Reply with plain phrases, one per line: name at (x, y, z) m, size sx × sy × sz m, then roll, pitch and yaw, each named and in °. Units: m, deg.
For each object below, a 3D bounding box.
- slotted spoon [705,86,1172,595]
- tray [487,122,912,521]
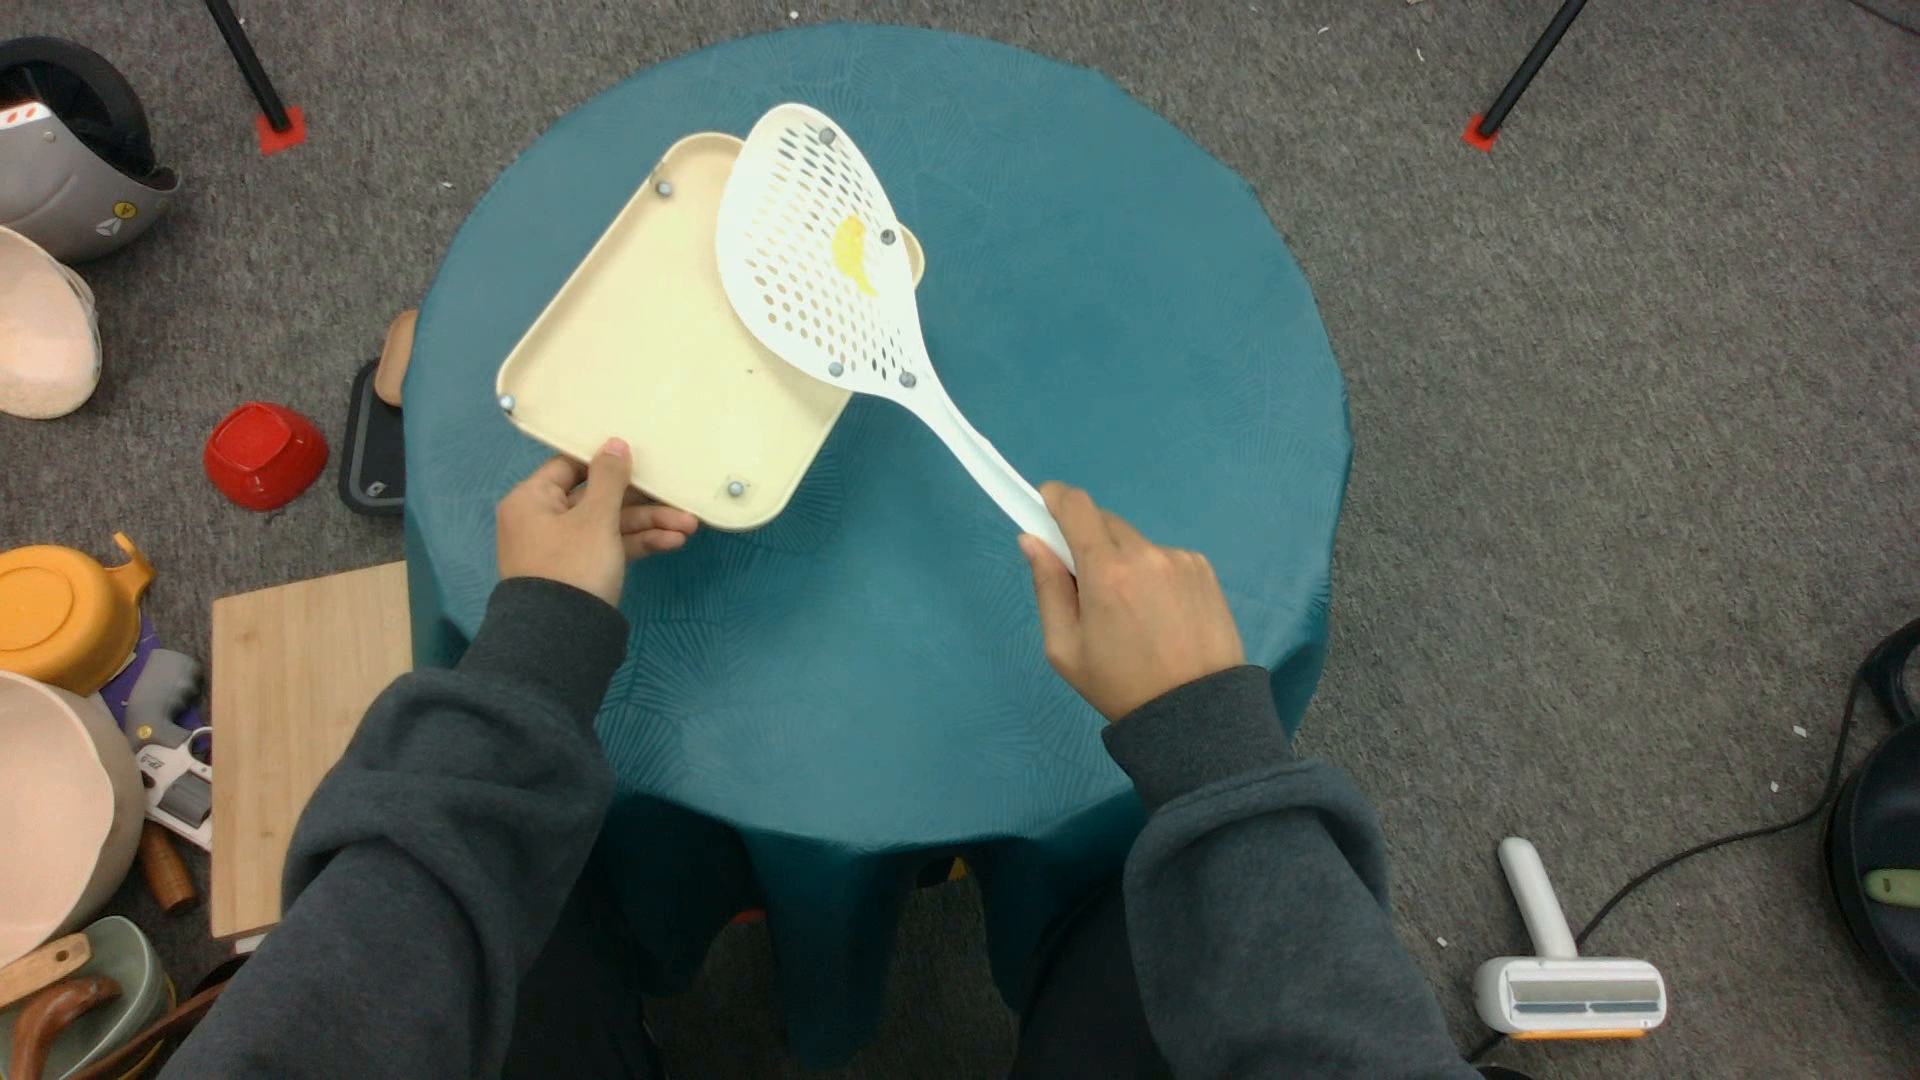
slotted spoon at (-0.018, -0.094, 0.710) m, size 0.050 × 0.136 × 0.348 m, roll -9°, pitch 53°, yaw -46°
tray at (-0.142, -0.130, 0.792) m, size 0.171 × 0.017 × 0.241 m, roll 27°, pitch 61°, yaw -1°
